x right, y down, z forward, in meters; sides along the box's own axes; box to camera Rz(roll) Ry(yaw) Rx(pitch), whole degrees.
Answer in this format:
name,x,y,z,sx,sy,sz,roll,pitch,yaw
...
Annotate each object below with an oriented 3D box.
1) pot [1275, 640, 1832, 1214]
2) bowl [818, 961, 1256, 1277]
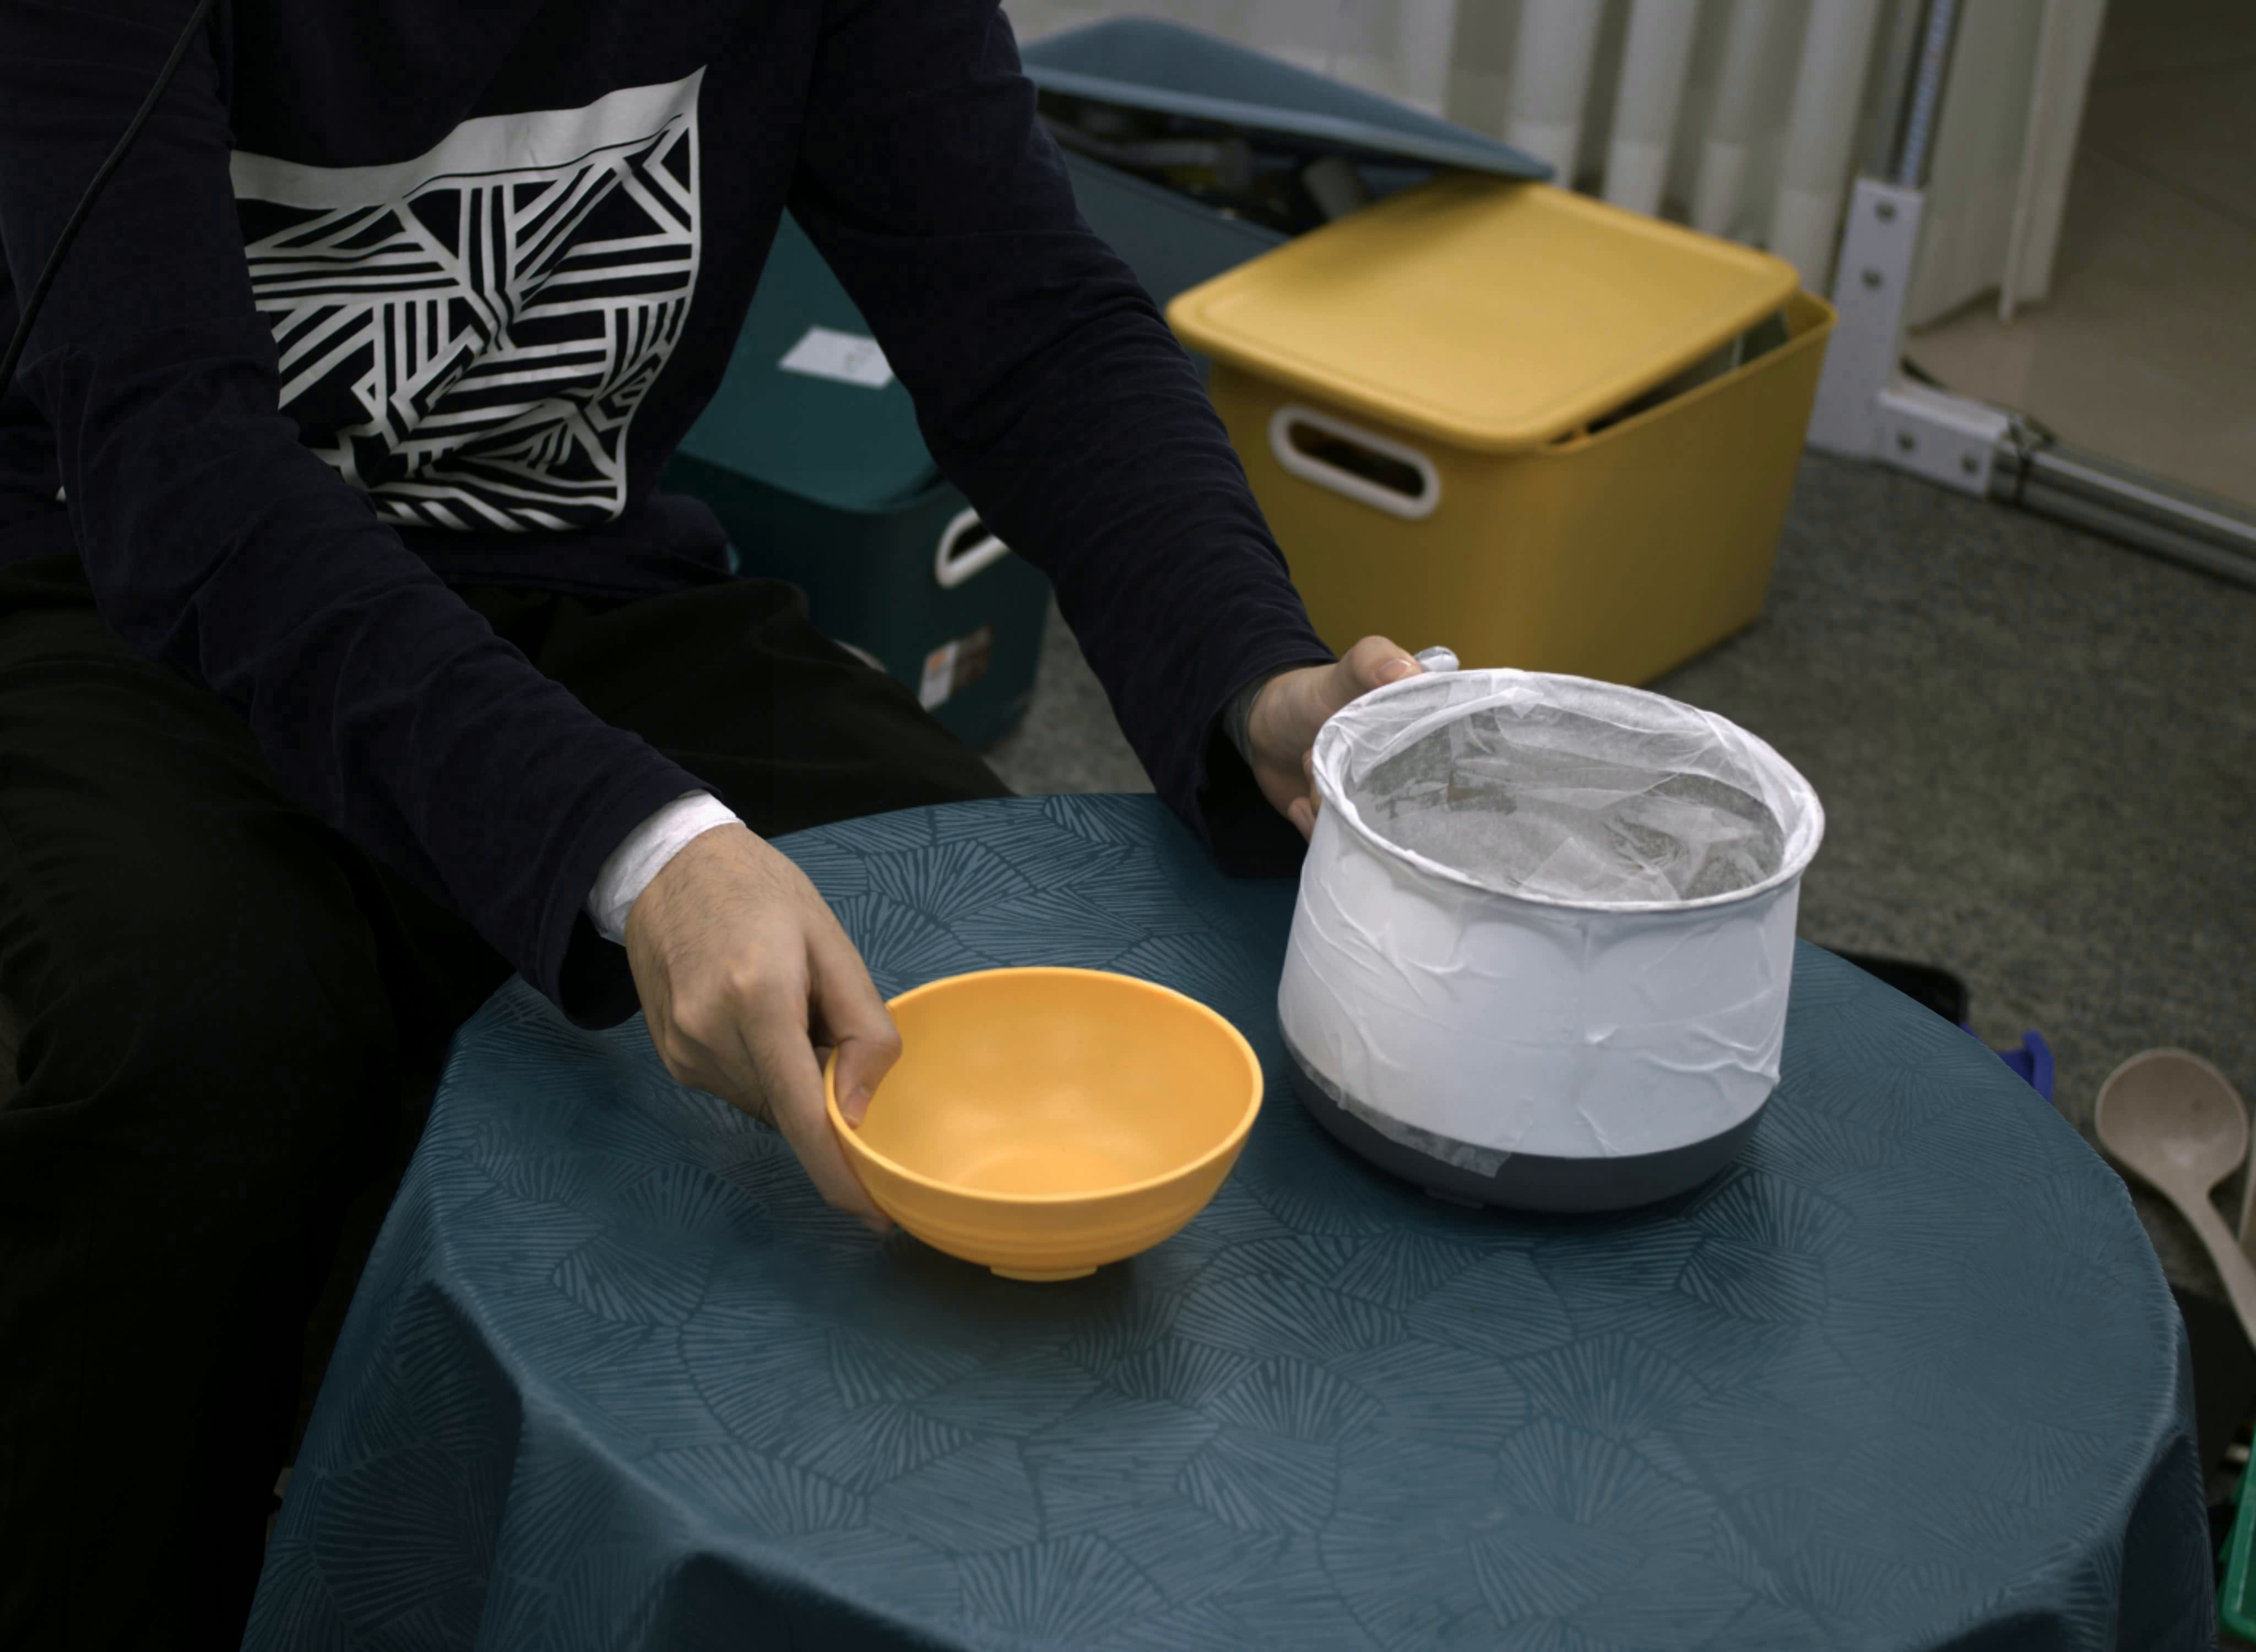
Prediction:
name,x,y,z,sx,sy,sz,roll,pitch,yaw
pot,0.132,0.028,1.870,0.177,0.136,0.236,-4,30,-26
bowl,-0.031,0.106,1.757,0.145,0.060,0.146,1,29,-1
